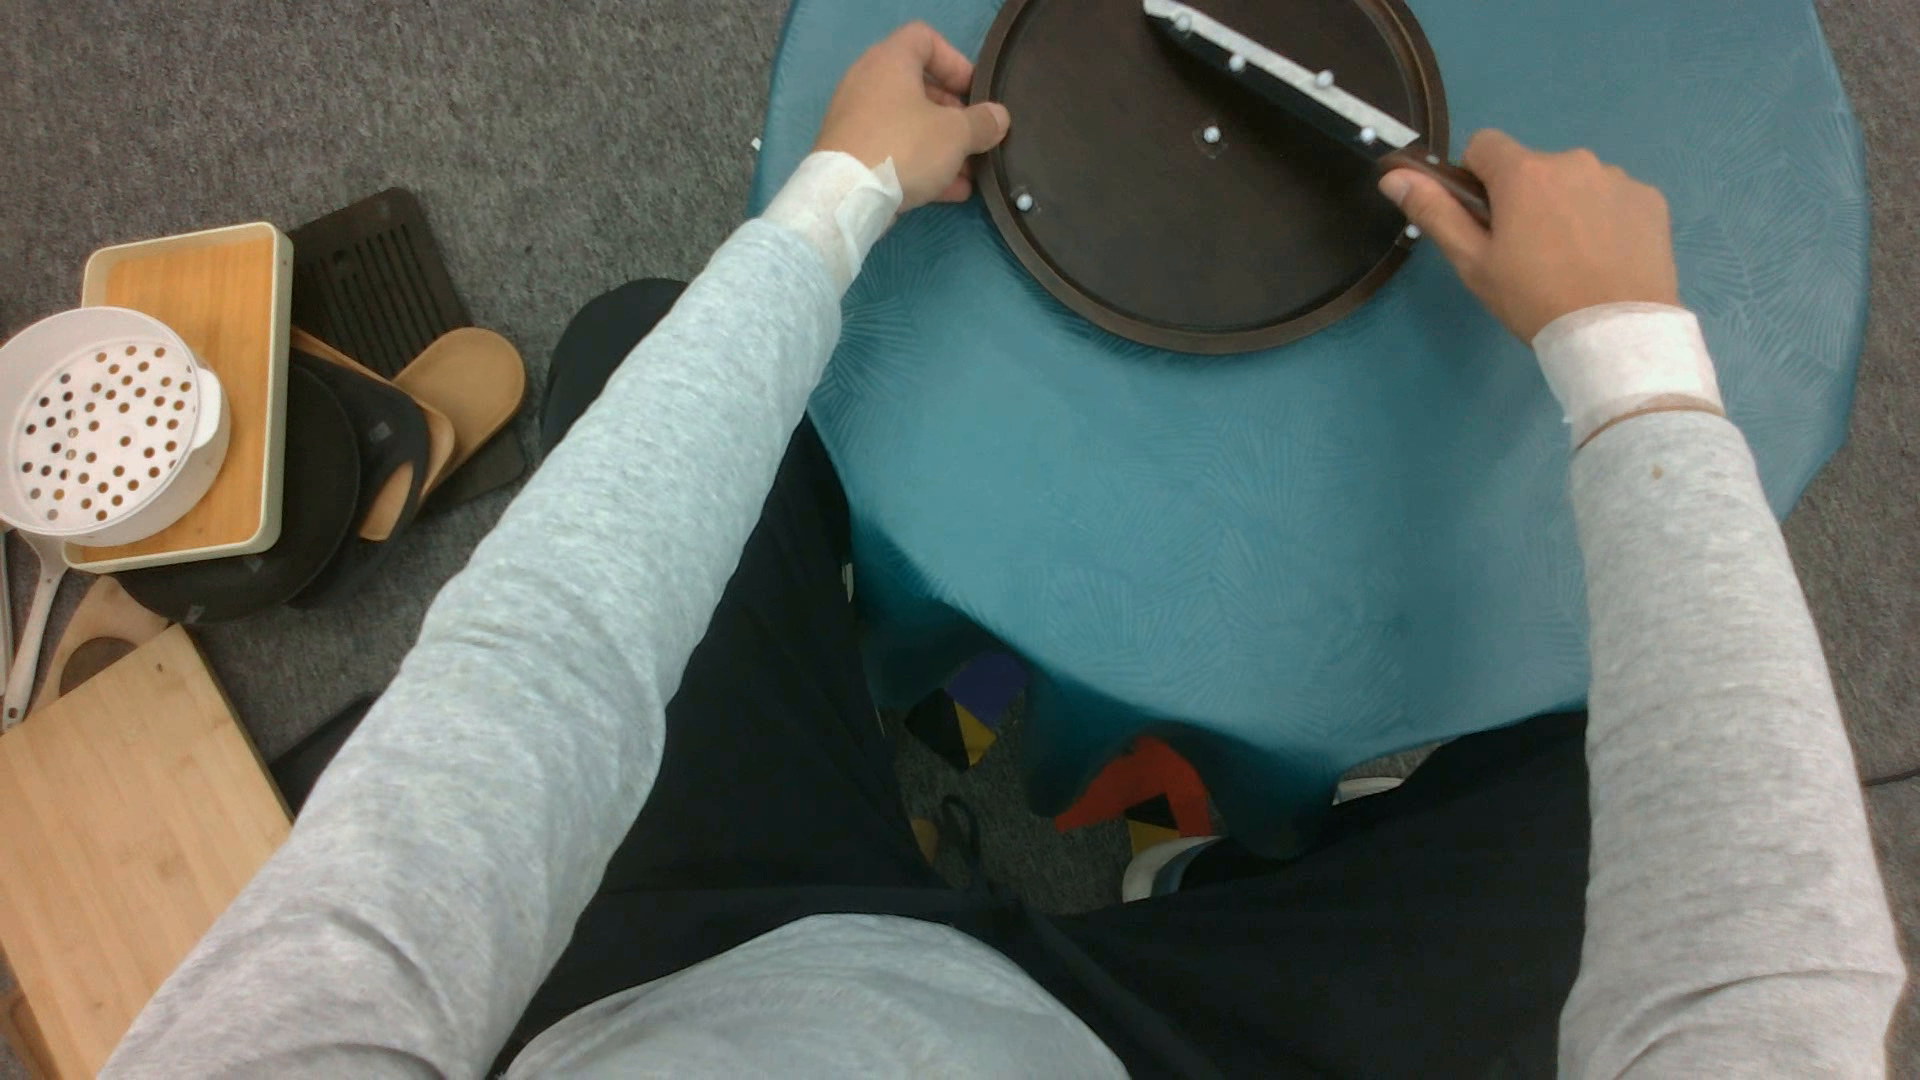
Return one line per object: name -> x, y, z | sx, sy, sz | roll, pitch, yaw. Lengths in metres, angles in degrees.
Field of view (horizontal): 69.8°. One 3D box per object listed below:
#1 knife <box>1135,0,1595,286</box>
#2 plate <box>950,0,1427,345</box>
knife -> 0.195, -0.215, 0.699 | 0.289, 0.020, 0.050 | 40, 49, 18
plate -> 0.121, -0.225, 0.734 | 0.255, 0.029, 0.255 | 0, 82, -3
